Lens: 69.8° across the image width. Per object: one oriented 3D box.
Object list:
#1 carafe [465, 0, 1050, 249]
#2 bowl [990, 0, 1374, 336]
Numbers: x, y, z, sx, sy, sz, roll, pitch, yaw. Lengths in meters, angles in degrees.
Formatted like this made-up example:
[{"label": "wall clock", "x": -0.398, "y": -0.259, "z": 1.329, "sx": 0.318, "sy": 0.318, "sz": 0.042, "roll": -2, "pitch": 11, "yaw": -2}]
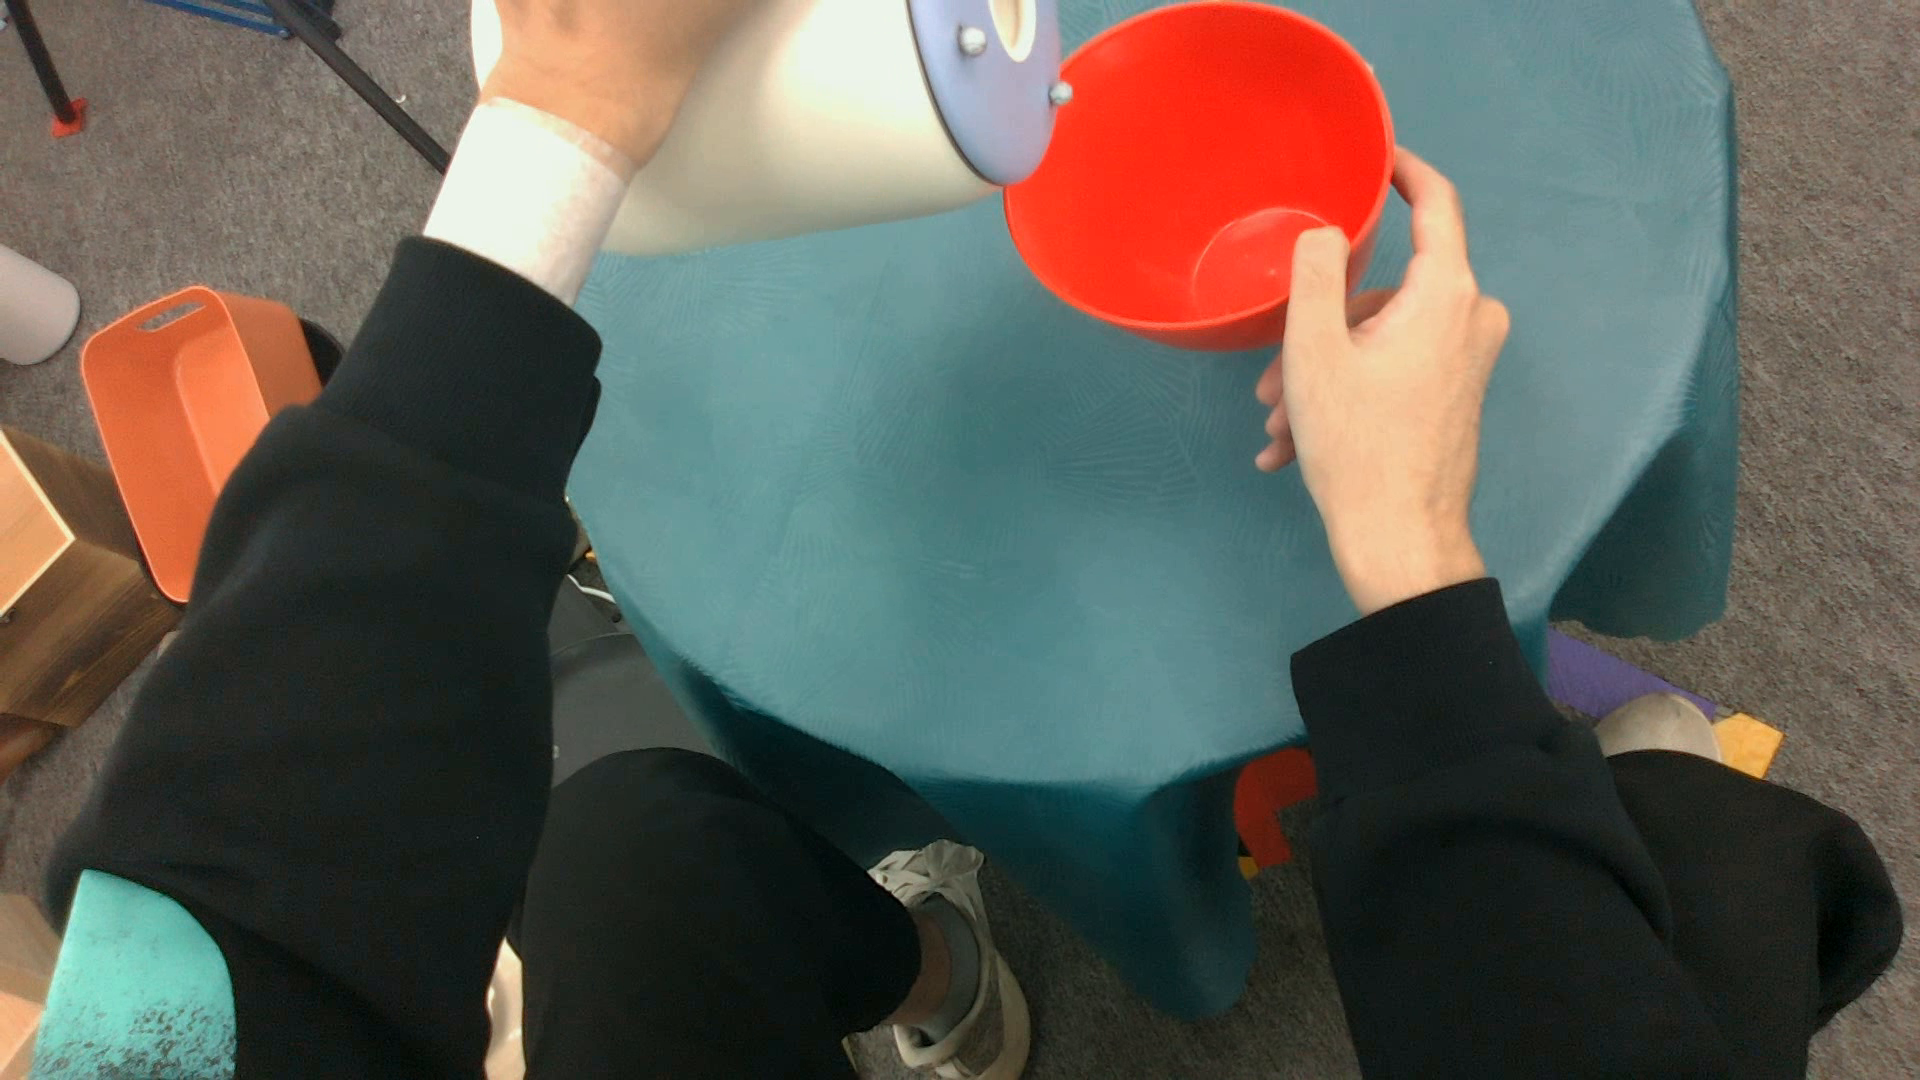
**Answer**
[{"label": "carafe", "x": -0.080, "y": -0.184, "z": 0.473, "sx": 0.182, "sy": 0.191, "sz": 0.132, "roll": -4, "pitch": 79, "yaw": 26}, {"label": "bowl", "x": 0.101, "y": -0.140, "z": 0.571, "sx": 0.147, "sy": 0.104, "sz": 0.148, "roll": -10, "pitch": 65, "yaw": 22}]
